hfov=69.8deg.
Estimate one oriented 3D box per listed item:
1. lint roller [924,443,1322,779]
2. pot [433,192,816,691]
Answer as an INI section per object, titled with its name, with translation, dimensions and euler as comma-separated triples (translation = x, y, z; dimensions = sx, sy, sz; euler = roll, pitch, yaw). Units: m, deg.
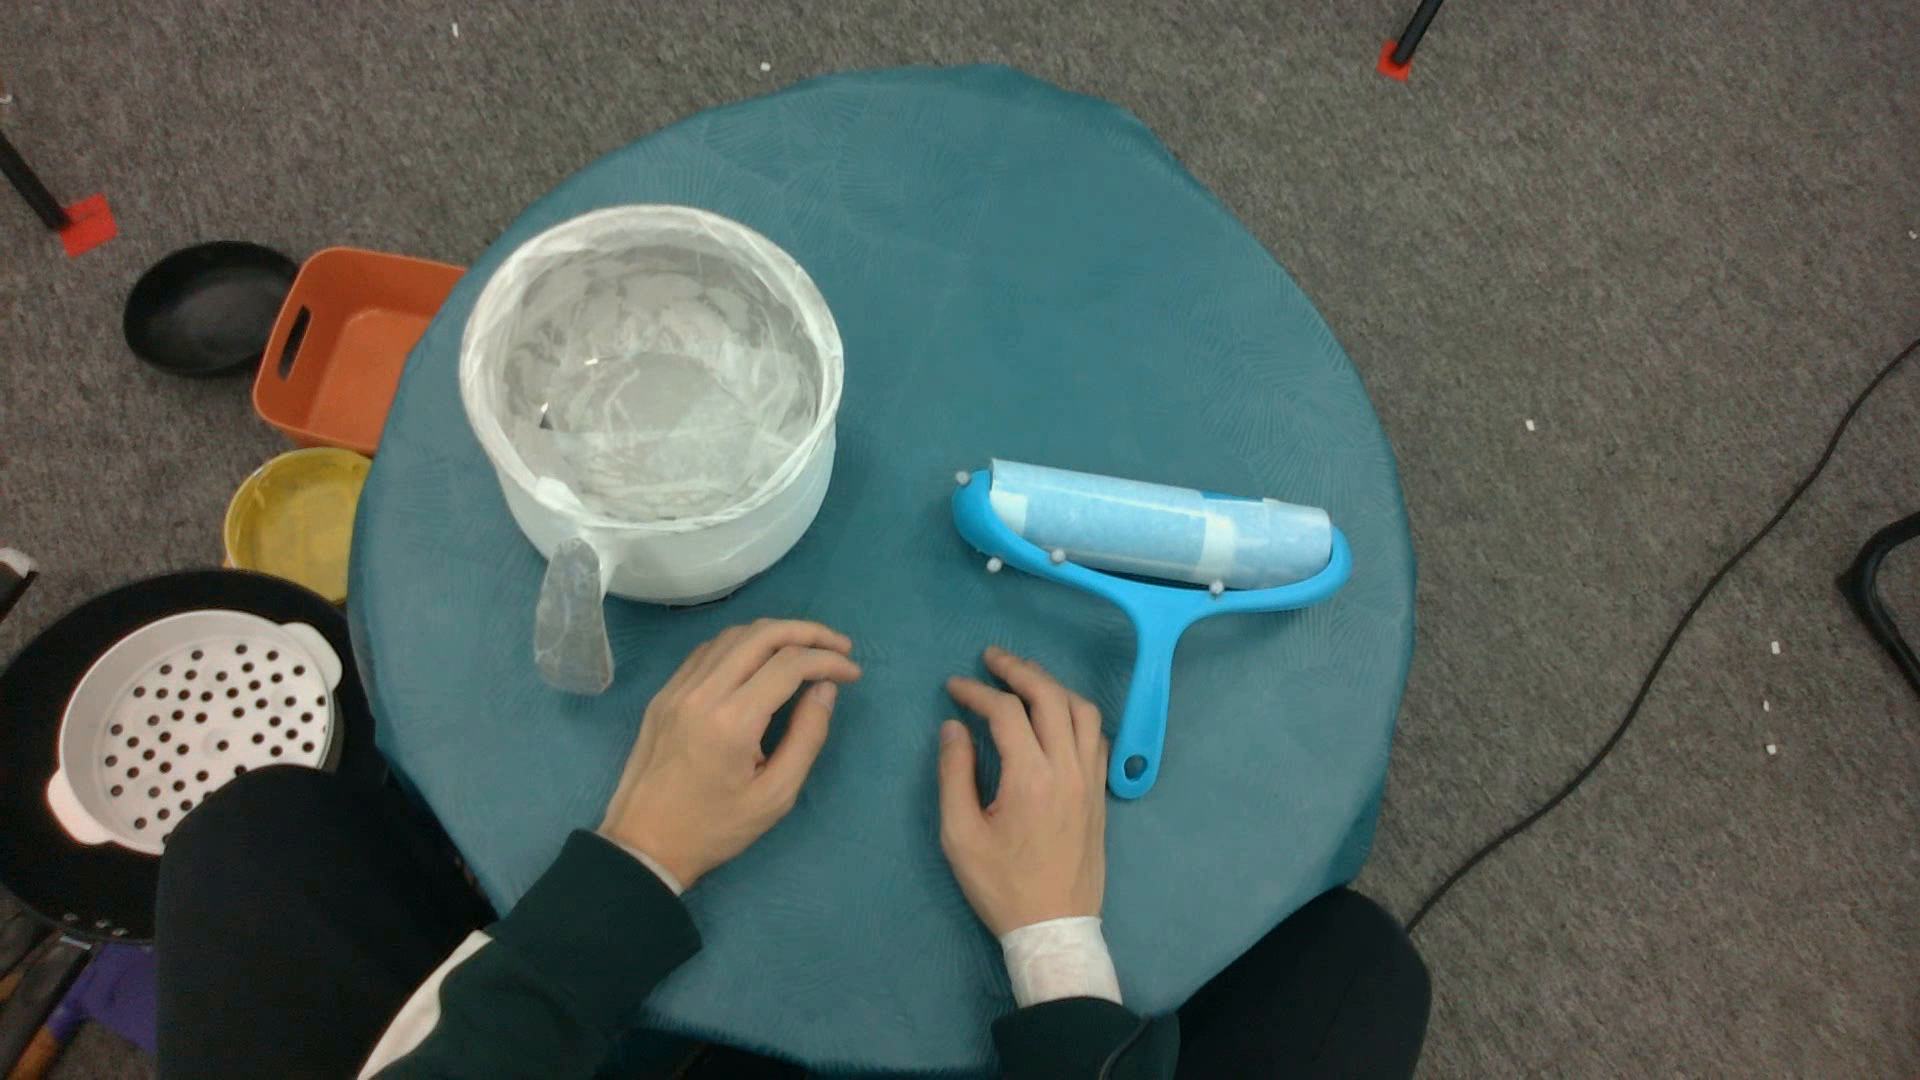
[lint roller]
translation = 0.093, 0.036, 0.759
dimensions = 0.229, 0.067, 0.181
euler = 4, 68, -10
[pot]
translation = -0.173, -0.043, 0.699
dimensions = 0.179, 0.136, 0.234
euler = 16, 67, -3
